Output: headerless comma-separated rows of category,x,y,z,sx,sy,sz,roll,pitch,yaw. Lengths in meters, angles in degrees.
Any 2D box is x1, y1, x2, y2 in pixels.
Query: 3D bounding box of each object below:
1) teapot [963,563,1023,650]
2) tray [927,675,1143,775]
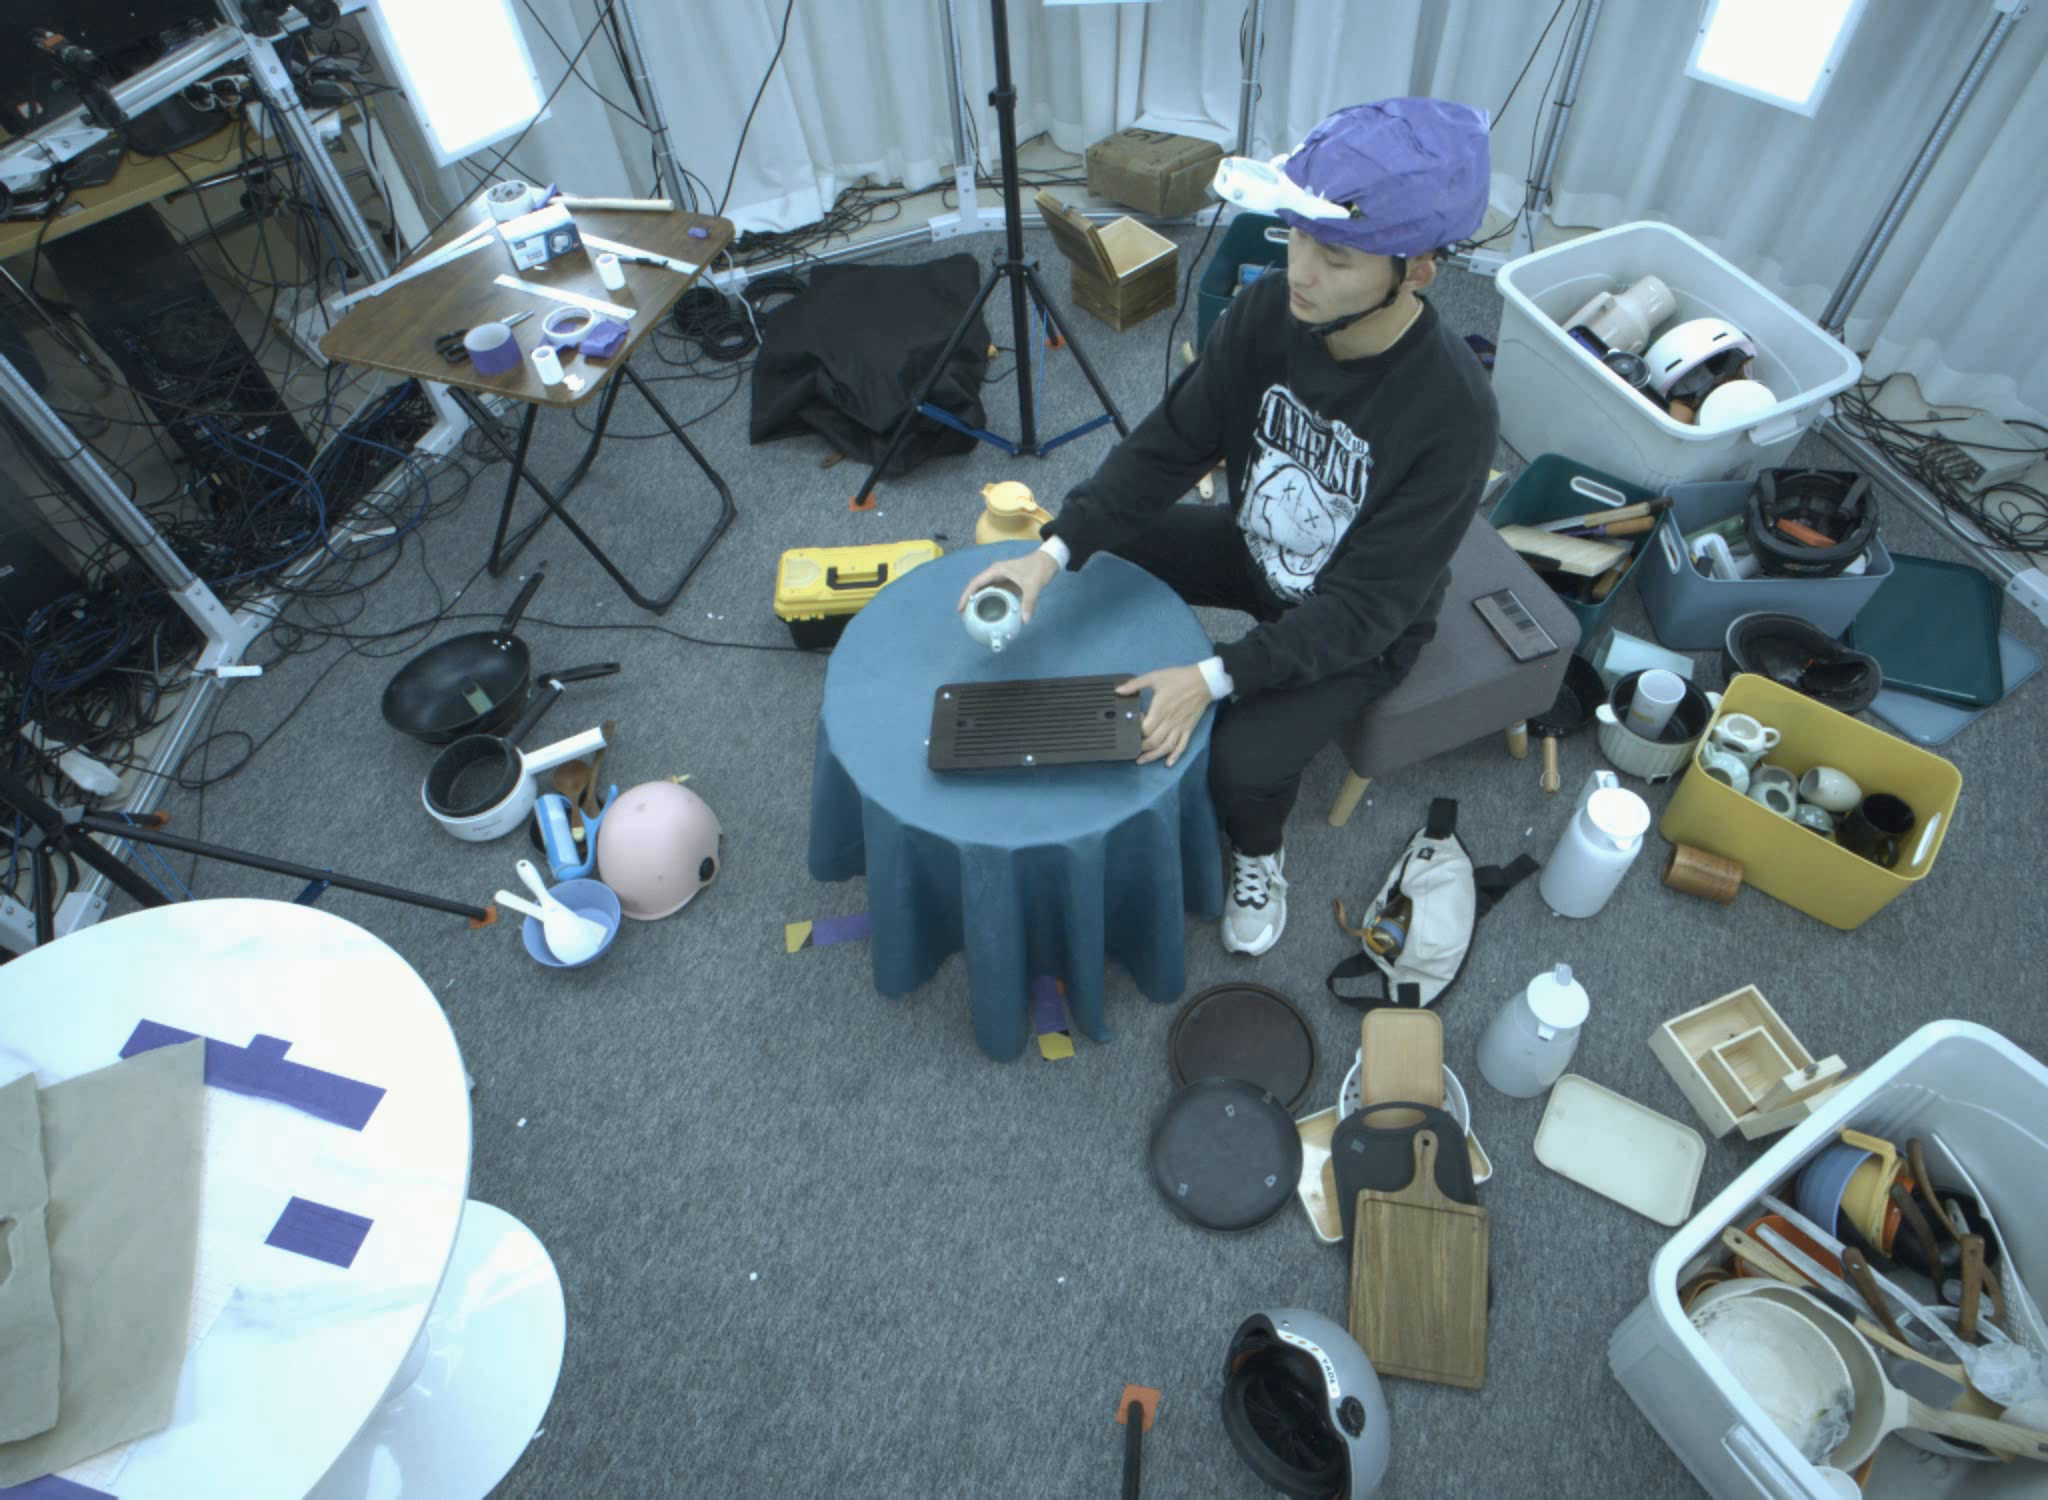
teapot,-0.046,-0.197,1.795,0.088,0.075,0.142,-7,70,1
tray,0.017,-0.035,1.777,0.305,0.019,0.168,-3,49,5
